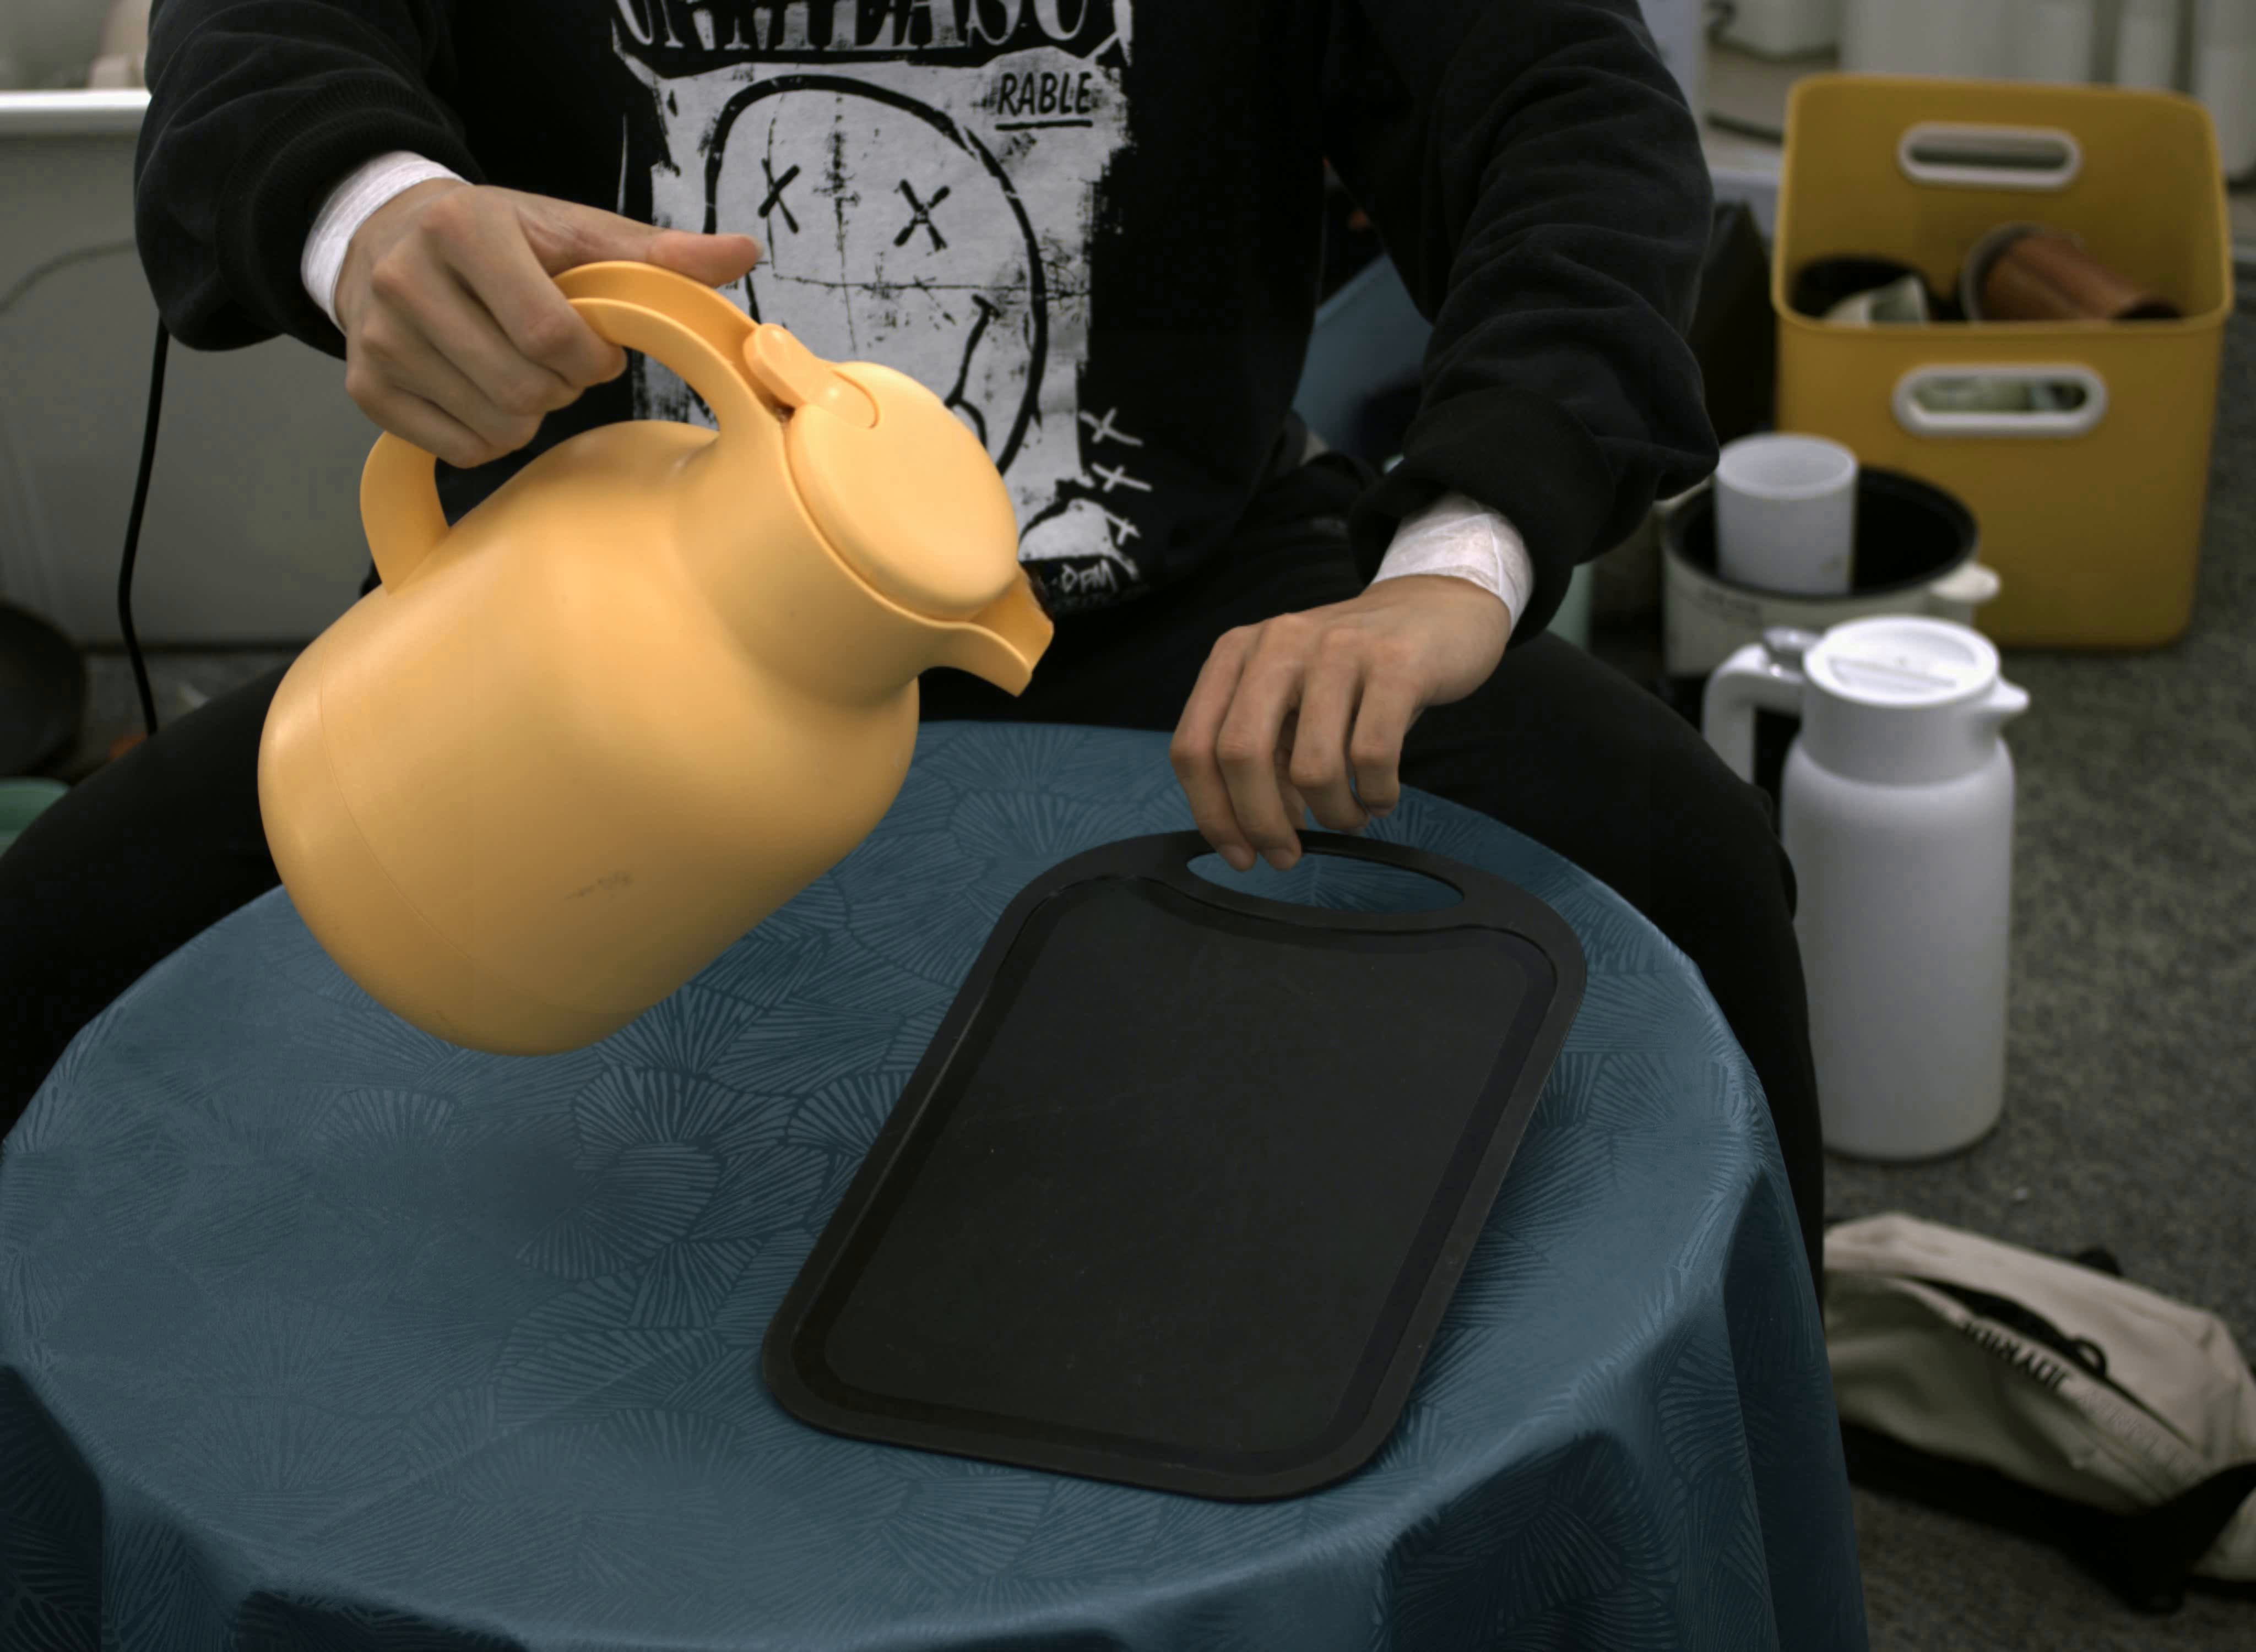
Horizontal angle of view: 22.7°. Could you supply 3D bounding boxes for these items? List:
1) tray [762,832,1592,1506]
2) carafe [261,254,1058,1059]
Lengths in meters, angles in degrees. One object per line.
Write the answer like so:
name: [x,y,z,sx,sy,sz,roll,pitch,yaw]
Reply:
tray: [0.022,0.100,1.837,0.210,0.009,0.332,8,38,19]
carafe: [-0.160,-0.061,1.786,0.256,0.202,0.166,-37,13,30]
